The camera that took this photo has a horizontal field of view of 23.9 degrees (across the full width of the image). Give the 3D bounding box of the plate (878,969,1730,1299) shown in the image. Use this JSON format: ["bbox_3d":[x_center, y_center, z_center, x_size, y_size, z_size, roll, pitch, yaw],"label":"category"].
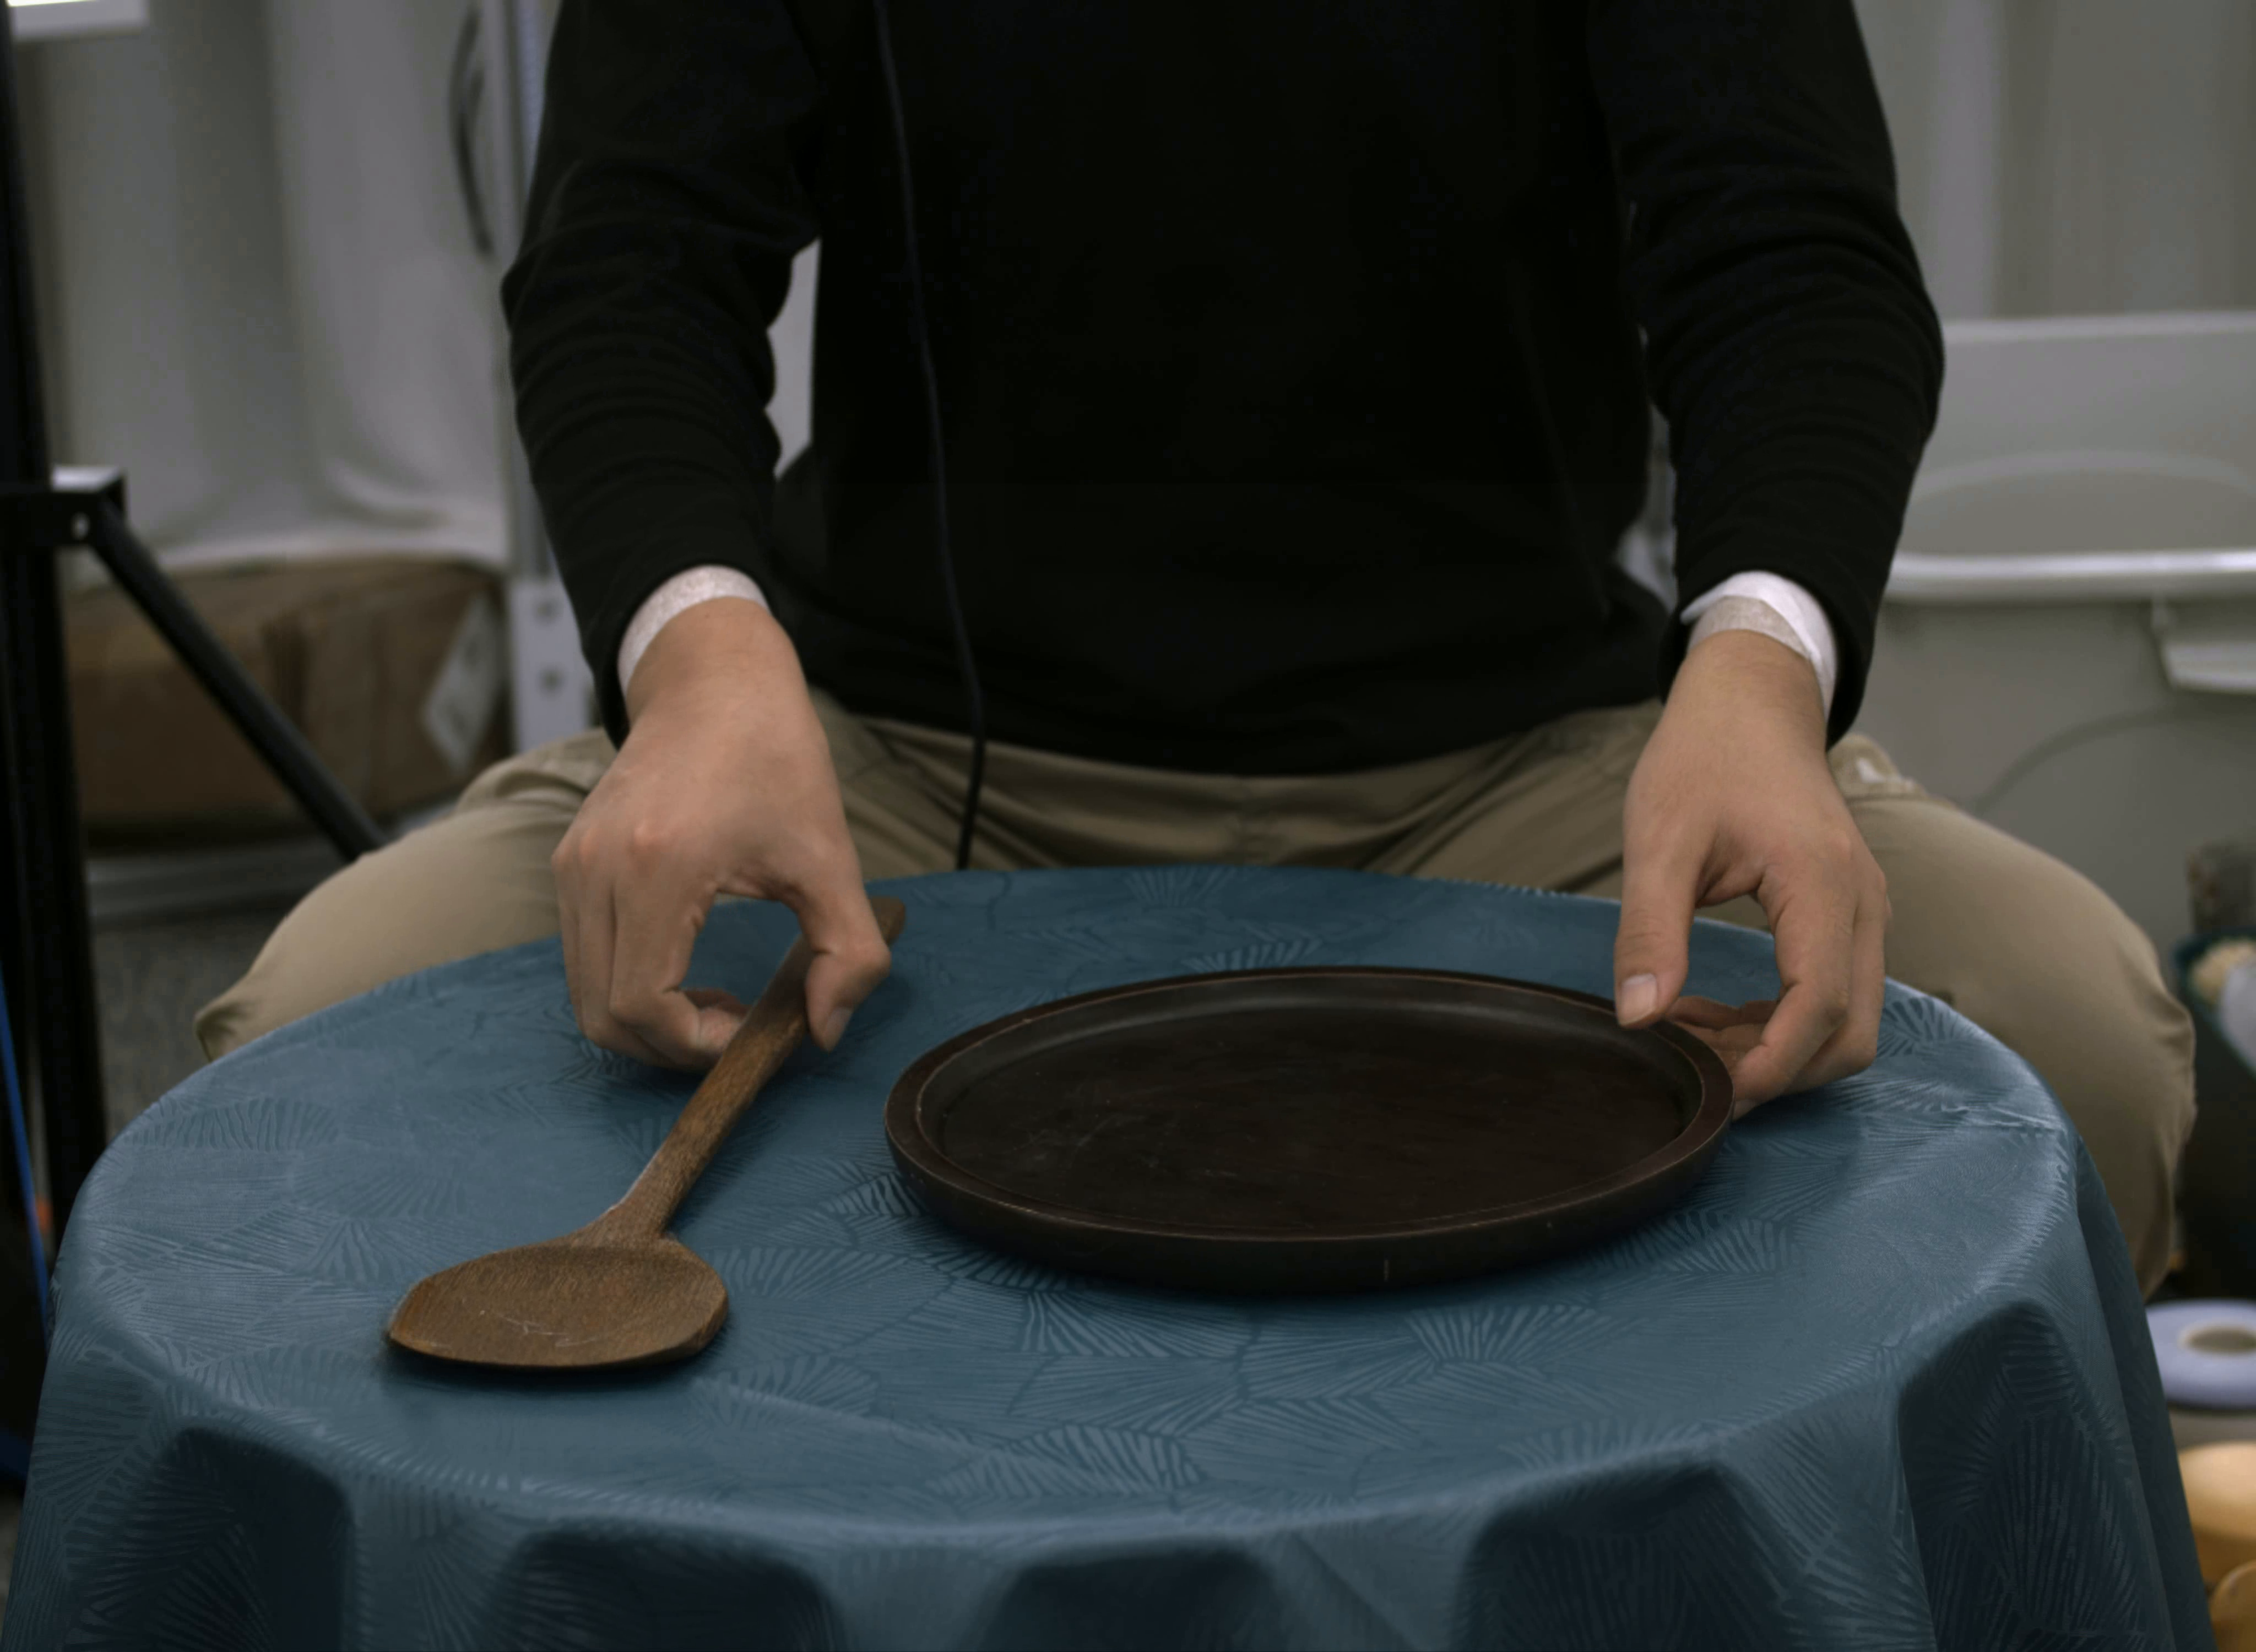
[{"bbox_3d":[0.053,0.089,1.573,0.253,0.029,0.256,-4,15,0],"label":"plate"}]

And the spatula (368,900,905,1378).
[{"bbox_3d":[-0.125,0.087,1.606,0.097,0.016,0.384,1,19,13],"label":"spatula"}]
